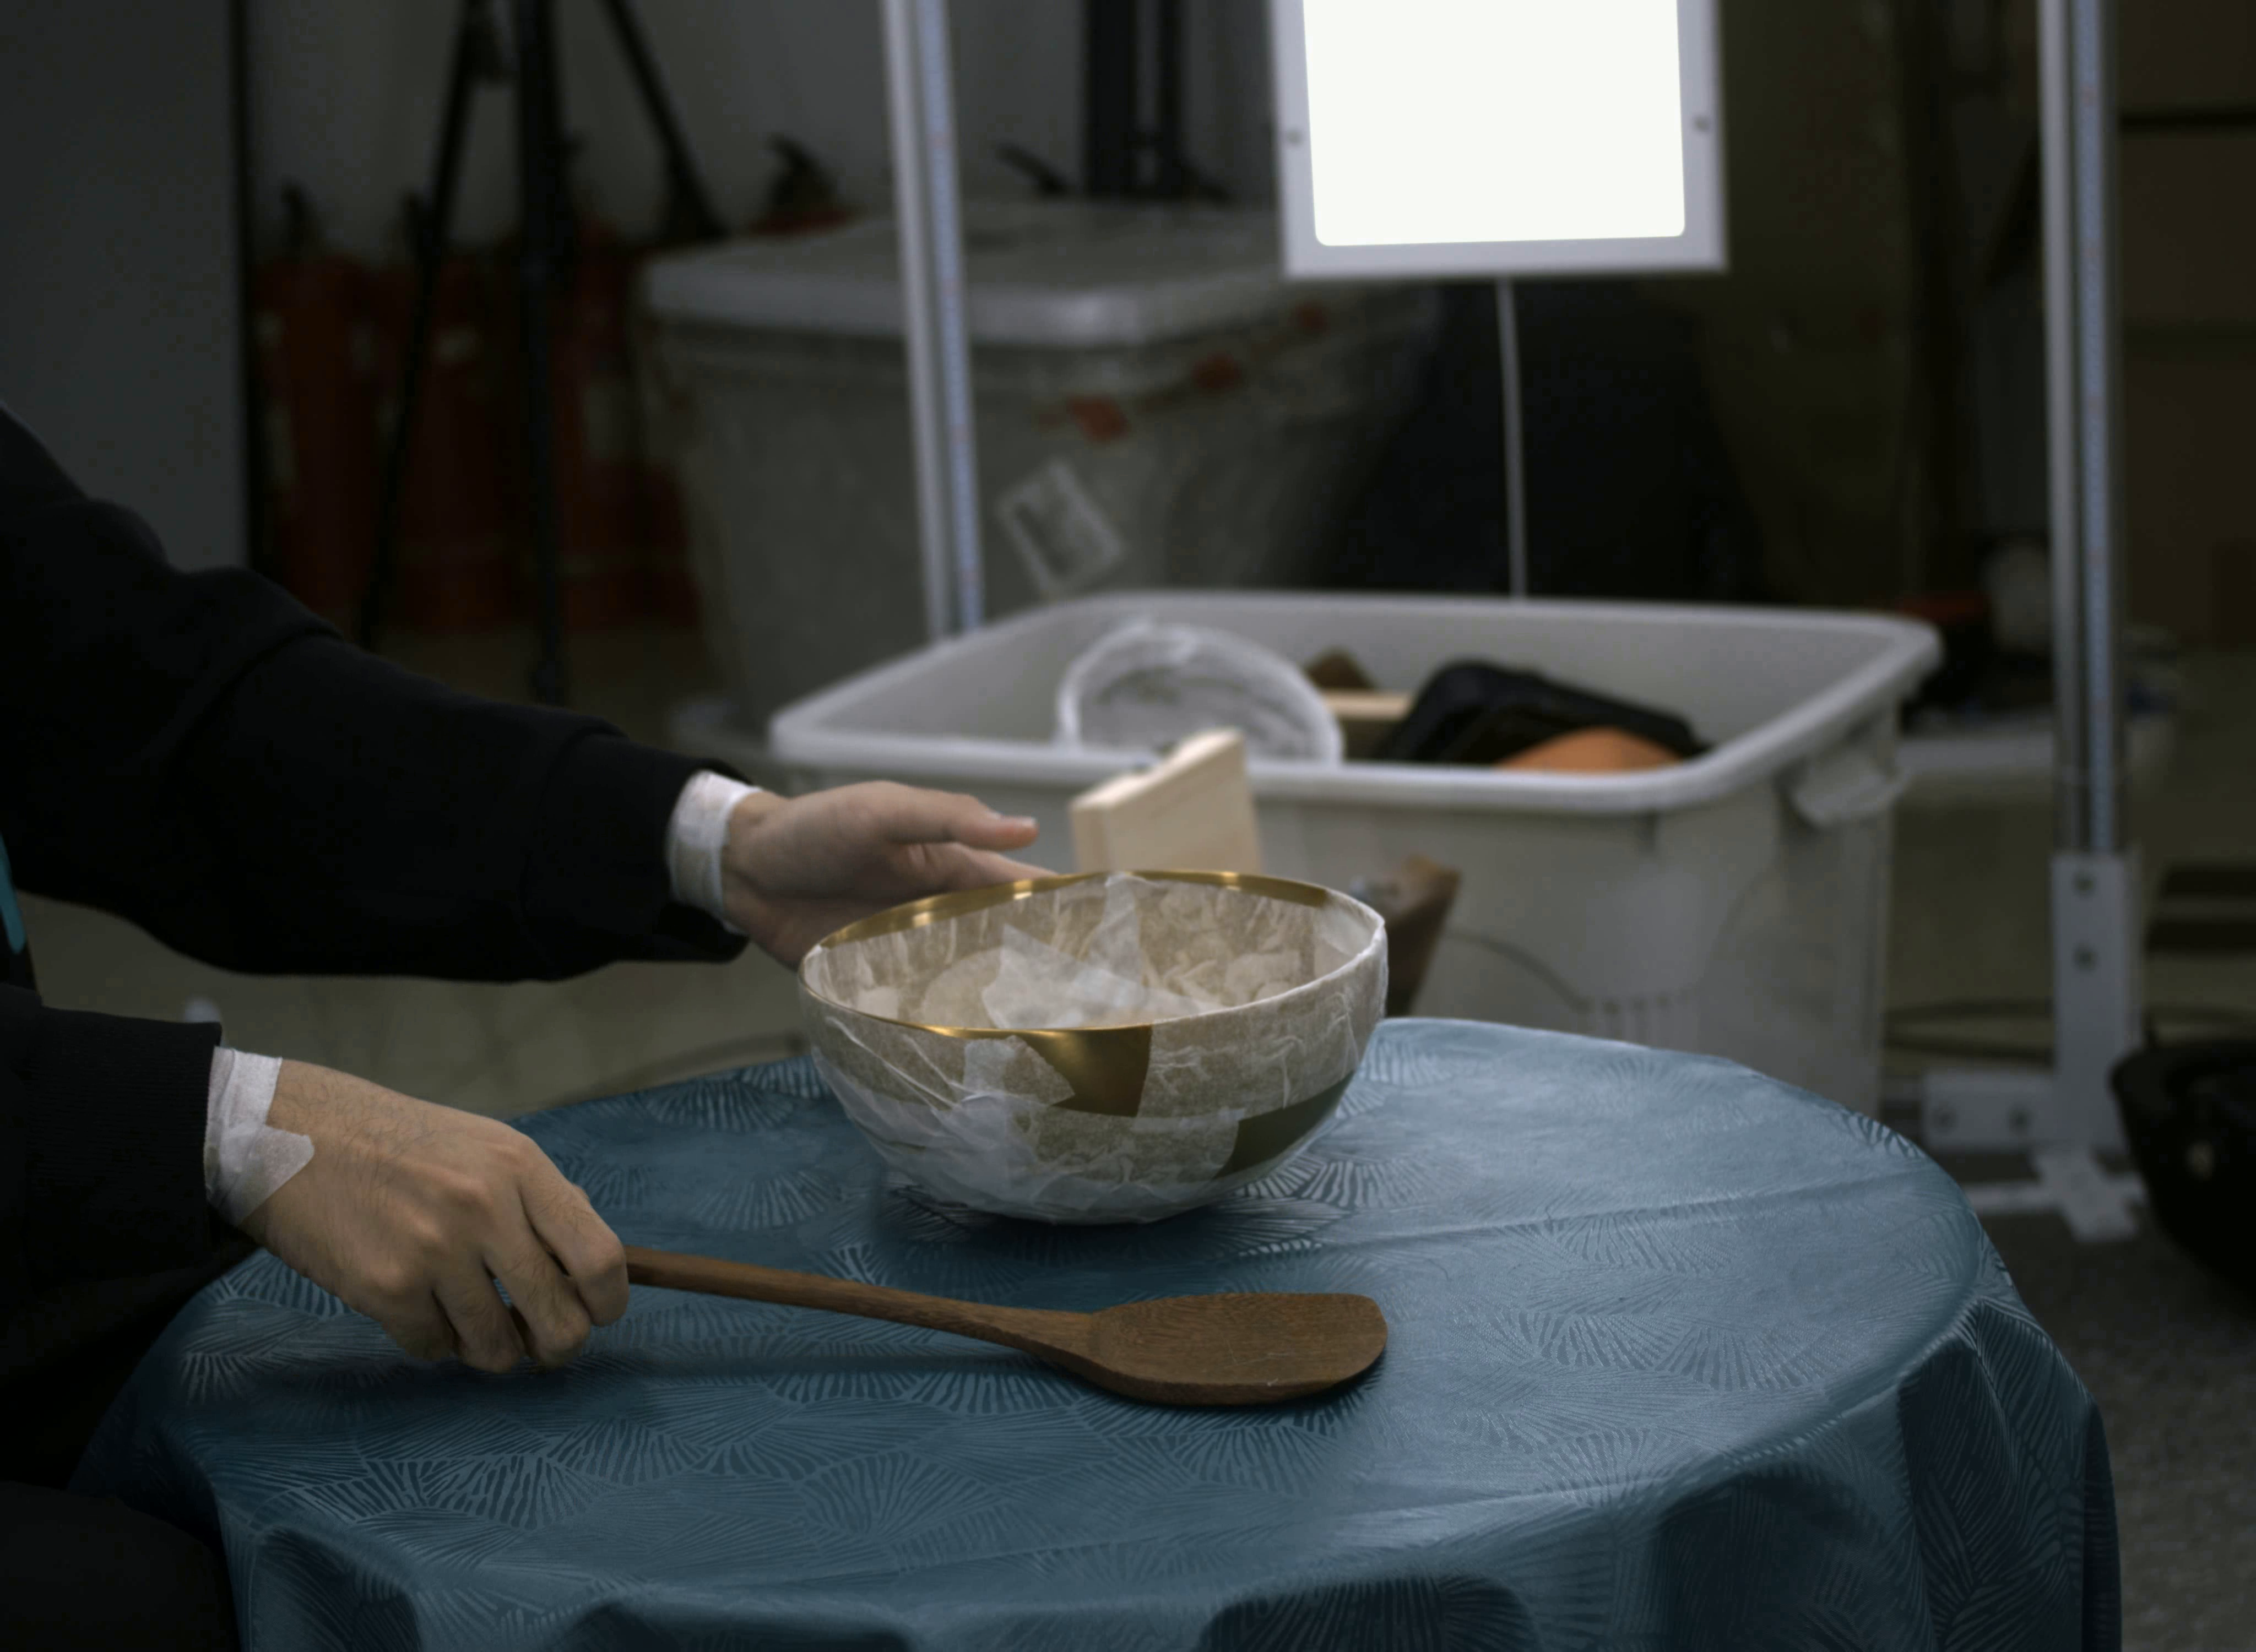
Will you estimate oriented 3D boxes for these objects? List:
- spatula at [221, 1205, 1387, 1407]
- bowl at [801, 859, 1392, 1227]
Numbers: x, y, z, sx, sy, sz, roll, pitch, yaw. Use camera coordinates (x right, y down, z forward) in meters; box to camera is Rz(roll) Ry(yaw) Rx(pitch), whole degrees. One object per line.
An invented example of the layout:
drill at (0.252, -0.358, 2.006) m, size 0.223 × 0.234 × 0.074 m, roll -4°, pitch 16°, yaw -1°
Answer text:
spatula at (-0.108, 0.148, 1.754) m, size 0.389 × 0.016 × 0.095 m, roll 6°, pitch 15°, yaw 15°
bowl at (-0.010, 0.082, 1.887) m, size 0.214 × 0.095 × 0.214 m, roll -6°, pitch 15°, yaw 0°
